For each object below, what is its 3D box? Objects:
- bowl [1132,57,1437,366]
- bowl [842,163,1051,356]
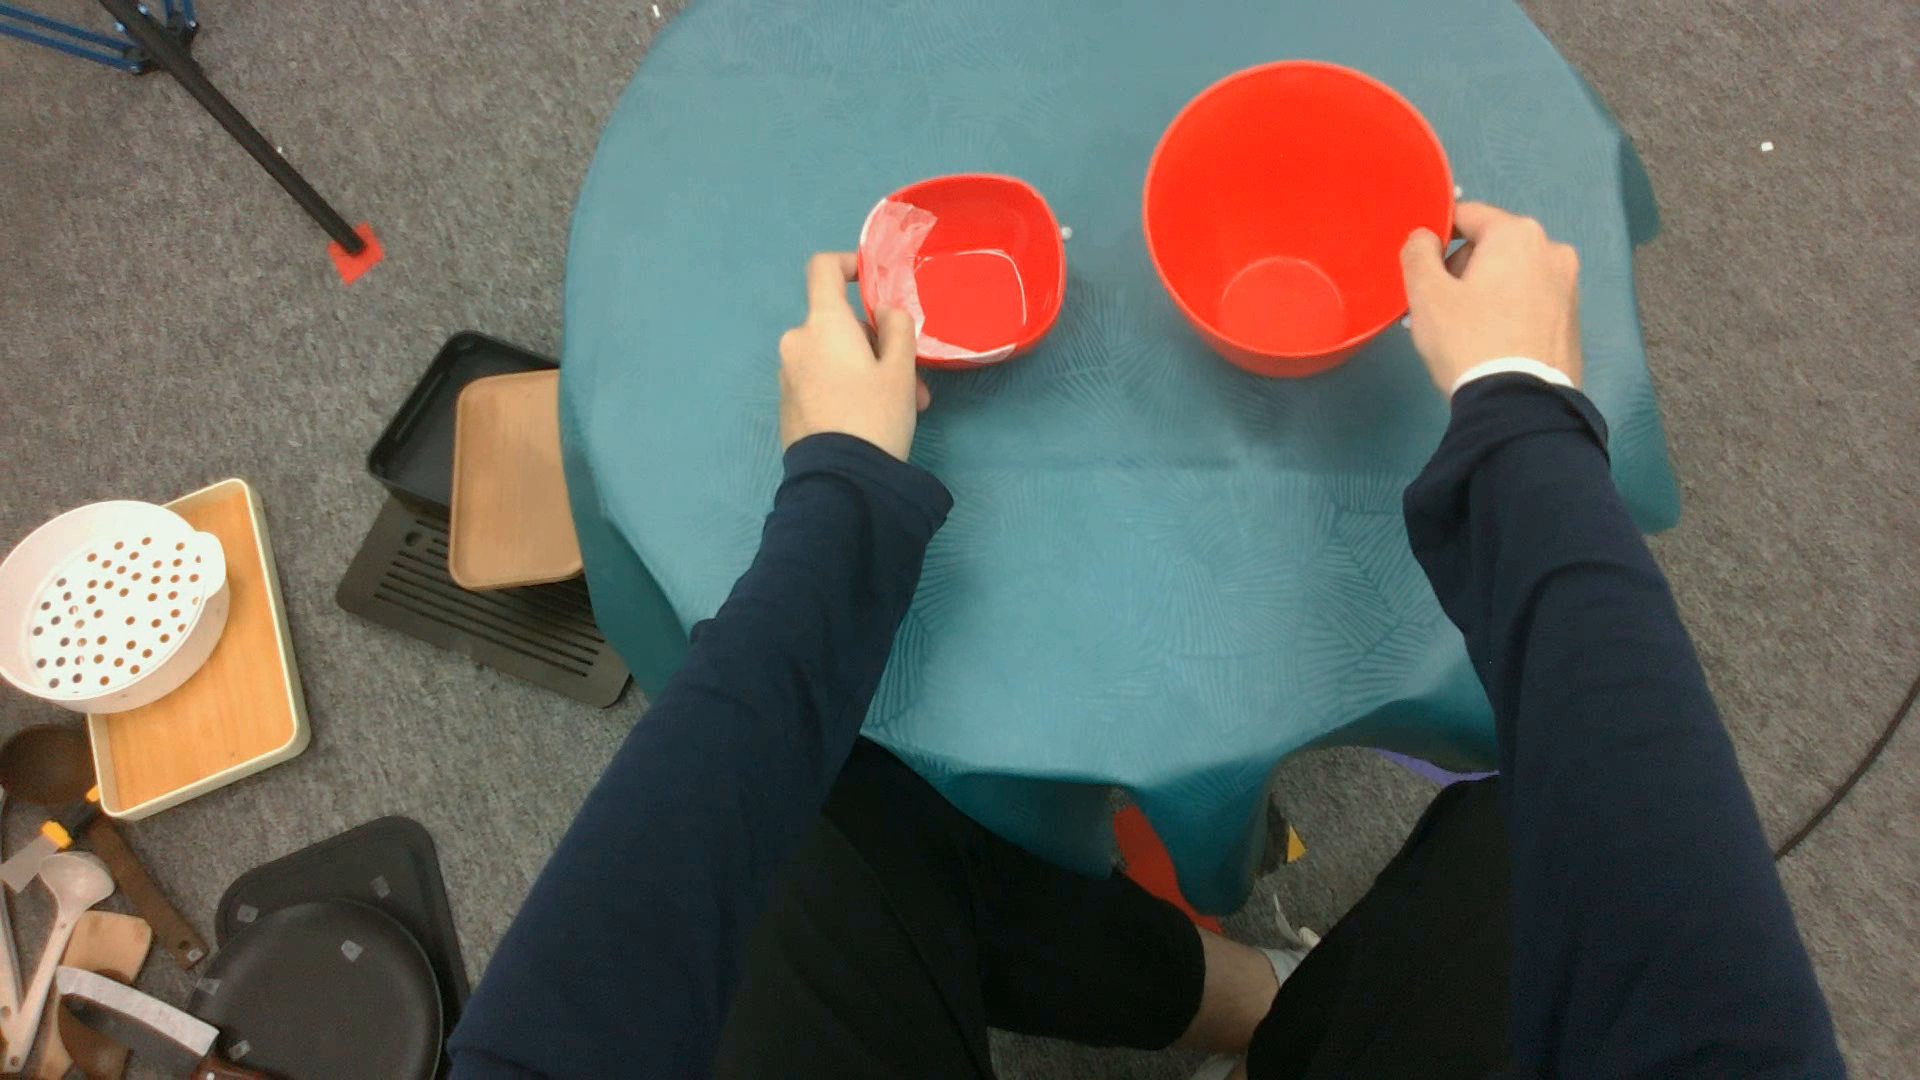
[{"bbox_3d":[0.163,-0.155,0.714,0.148,0.104,0.148,-2,72,6],"label":"bowl"},{"bbox_3d":[-0.006,-0.144,0.749,0.119,0.051,0.119,-1,71,3],"label":"bowl"}]
